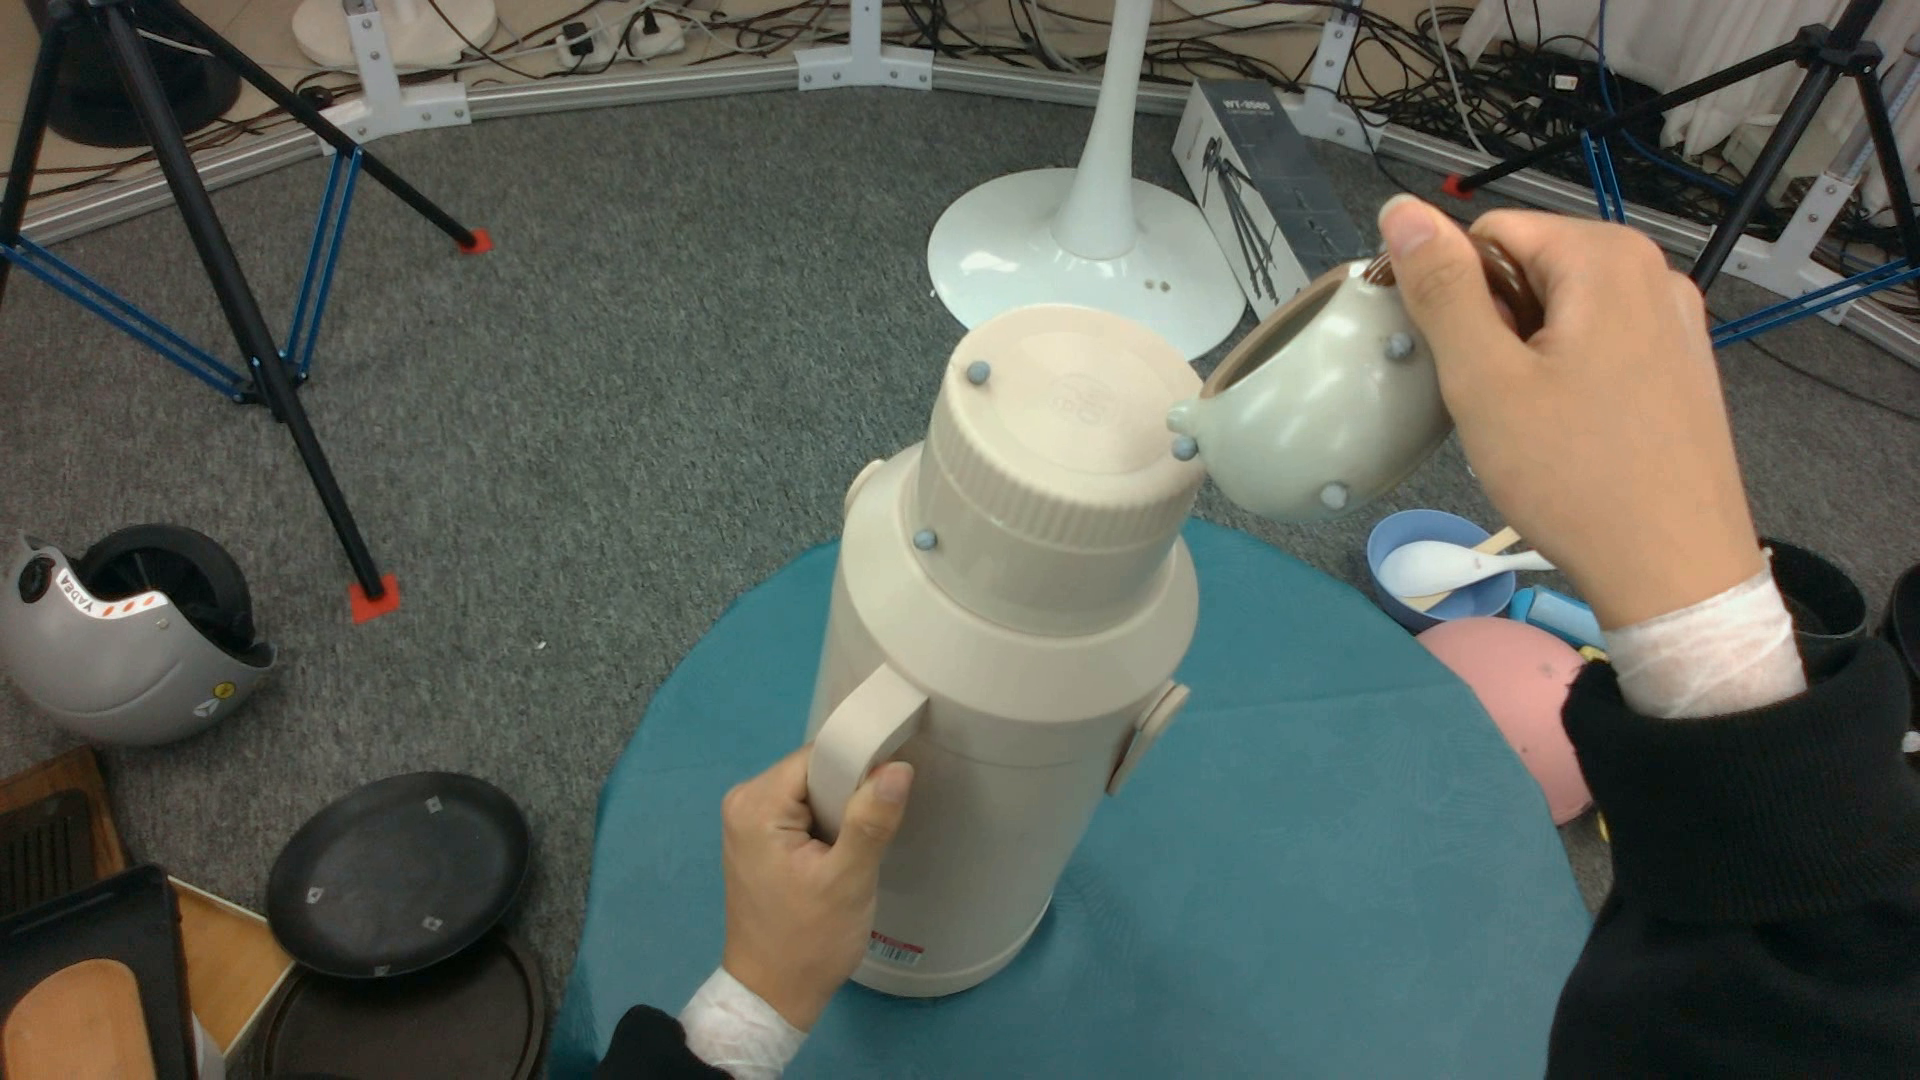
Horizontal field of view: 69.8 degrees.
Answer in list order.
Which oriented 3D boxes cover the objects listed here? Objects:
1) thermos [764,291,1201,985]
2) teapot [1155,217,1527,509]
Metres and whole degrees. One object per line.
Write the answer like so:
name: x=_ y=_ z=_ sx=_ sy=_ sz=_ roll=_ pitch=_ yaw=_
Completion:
thermos: x=-0.007 y=0.072 z=0.653 sx=0.175 sy=0.404 sz=0.208 roll=37 pitch=52 yaw=14
teapot: x=0.122 y=-0.055 z=0.442 sx=0.059 sy=0.127 sz=0.092 roll=47 pitch=45 yaw=-5
